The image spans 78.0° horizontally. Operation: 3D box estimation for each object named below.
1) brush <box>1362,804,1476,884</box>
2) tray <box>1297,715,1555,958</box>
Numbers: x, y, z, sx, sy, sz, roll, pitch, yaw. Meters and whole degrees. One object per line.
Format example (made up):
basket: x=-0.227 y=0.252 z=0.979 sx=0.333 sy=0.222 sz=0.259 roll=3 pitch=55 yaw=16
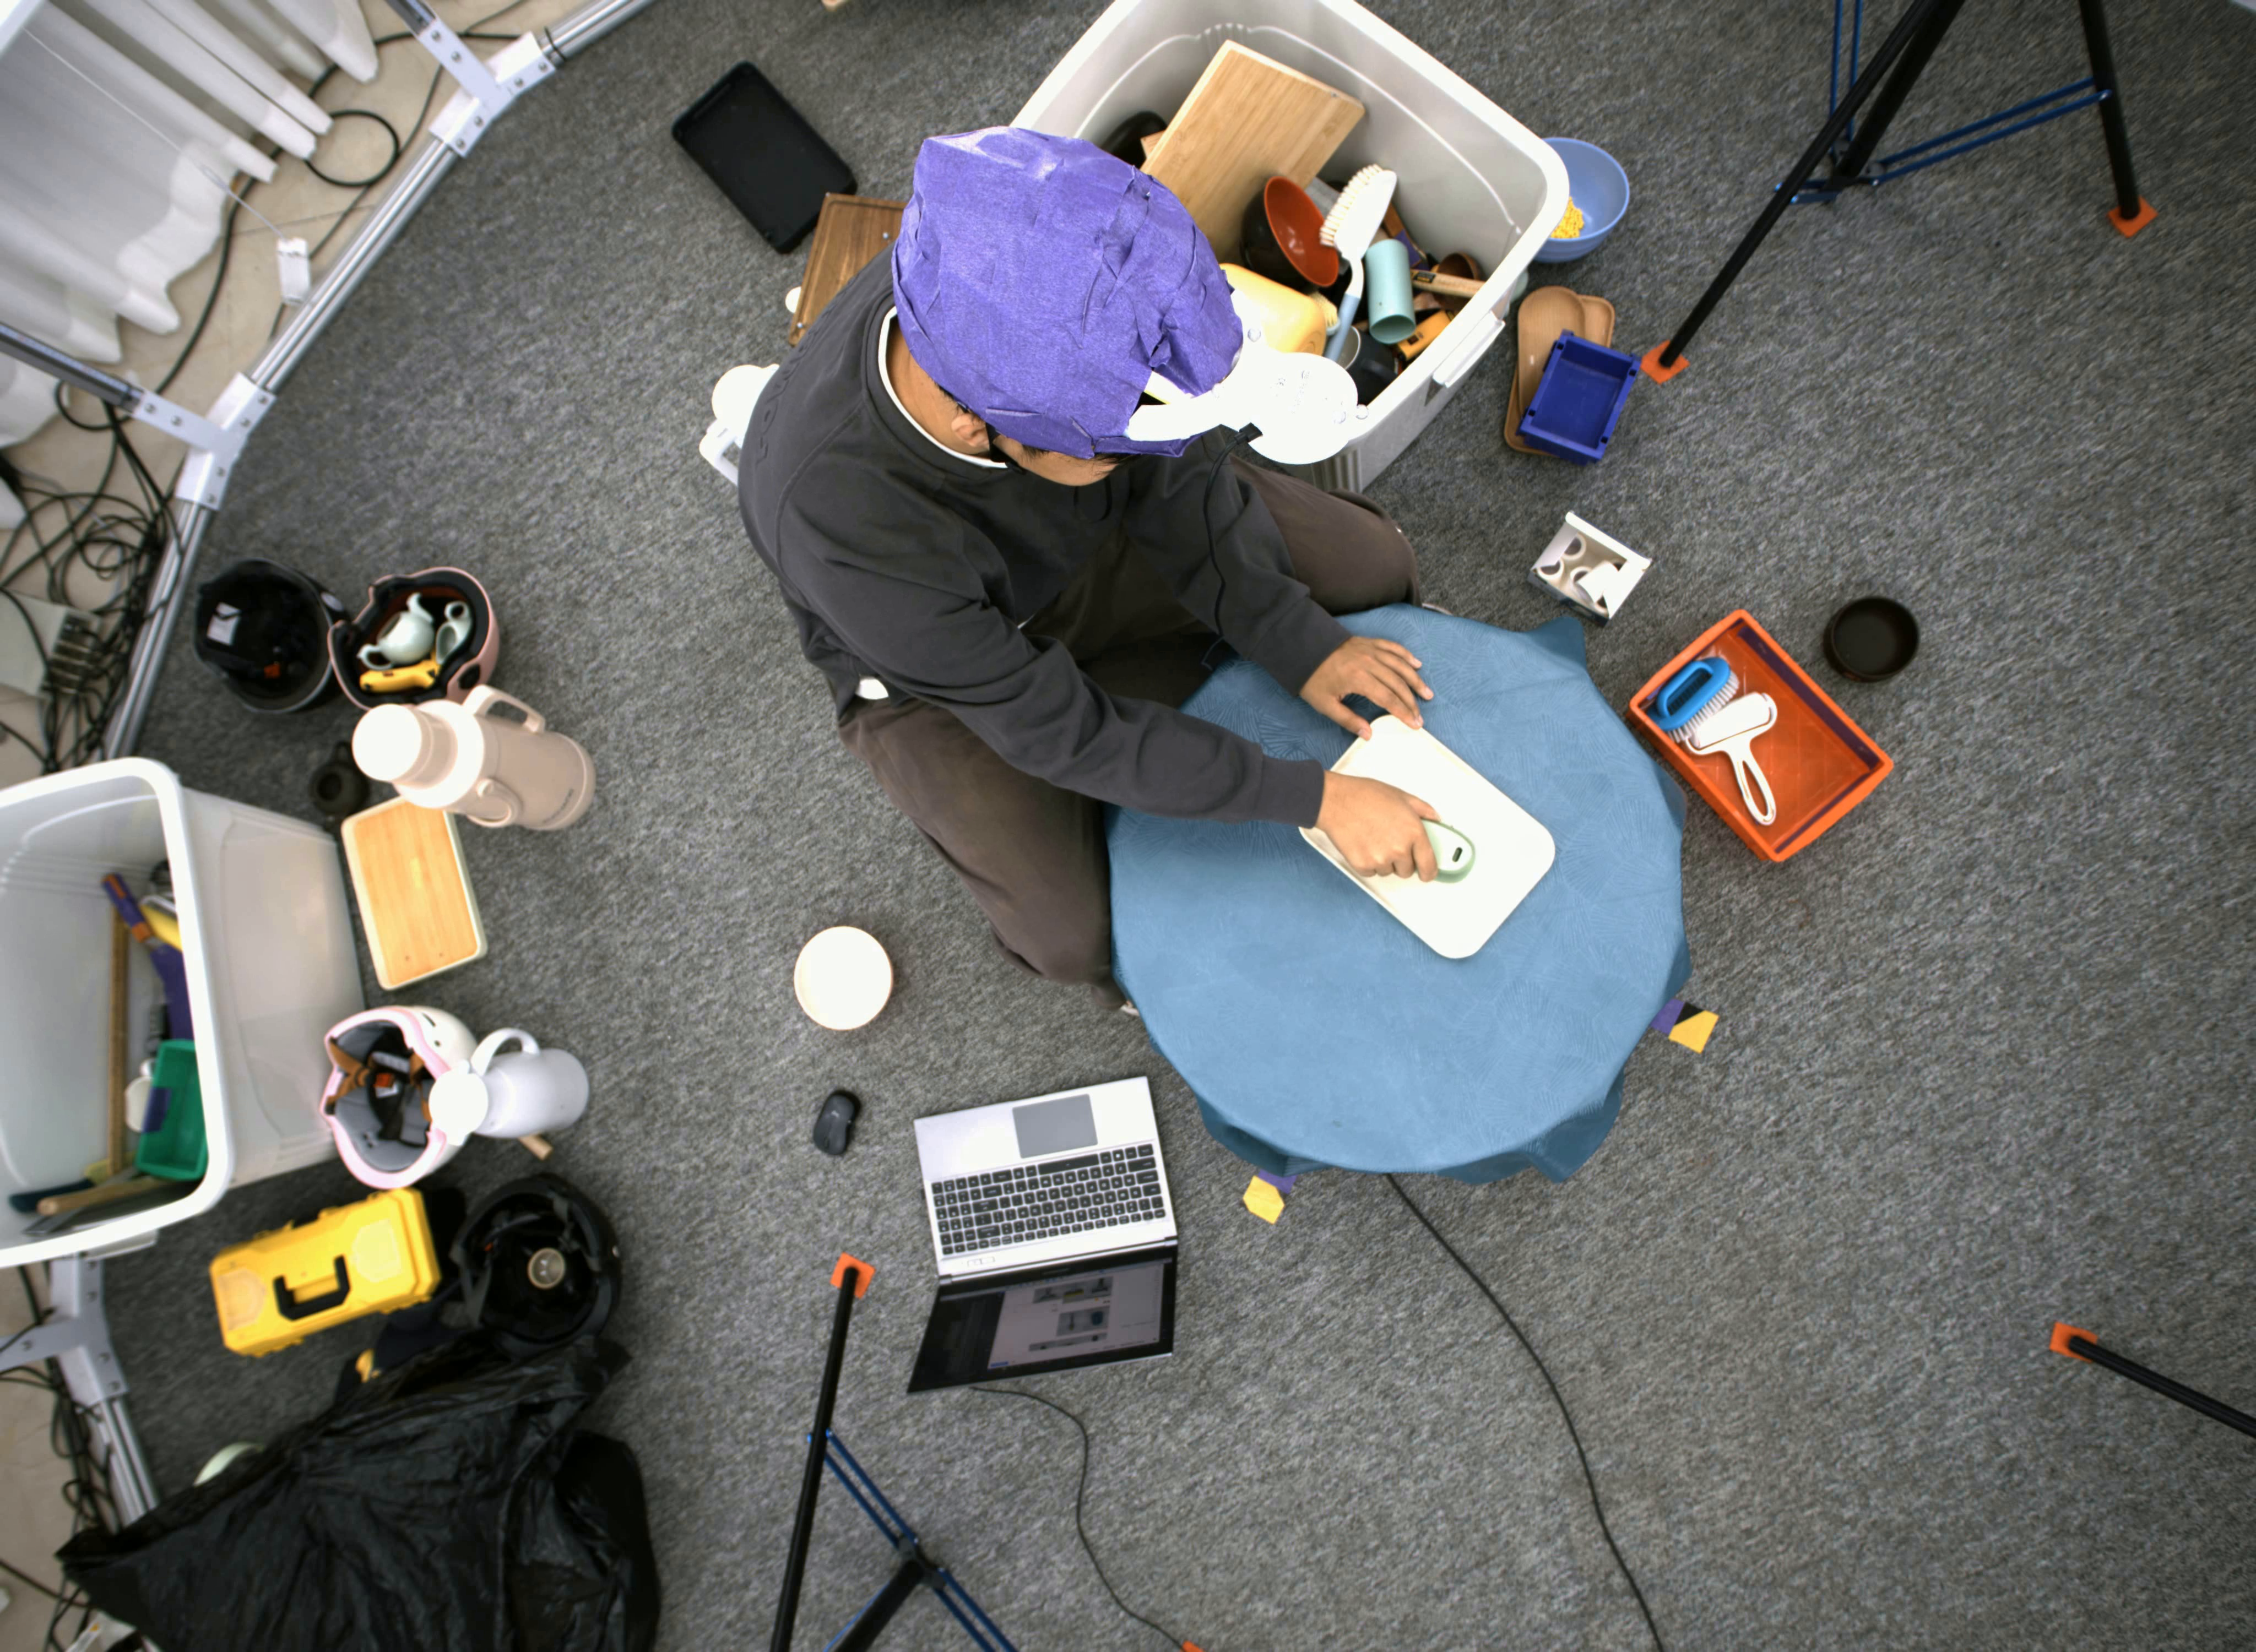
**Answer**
brush: x=0.303 y=0.017 z=1.428 sx=0.123 sy=0.076 sz=0.059 roll=23 pitch=89 yaw=25
tray: x=0.311 y=0.008 z=1.447 sx=0.238 sy=0.017 sz=0.172 roll=41 pitch=94 yaw=10
